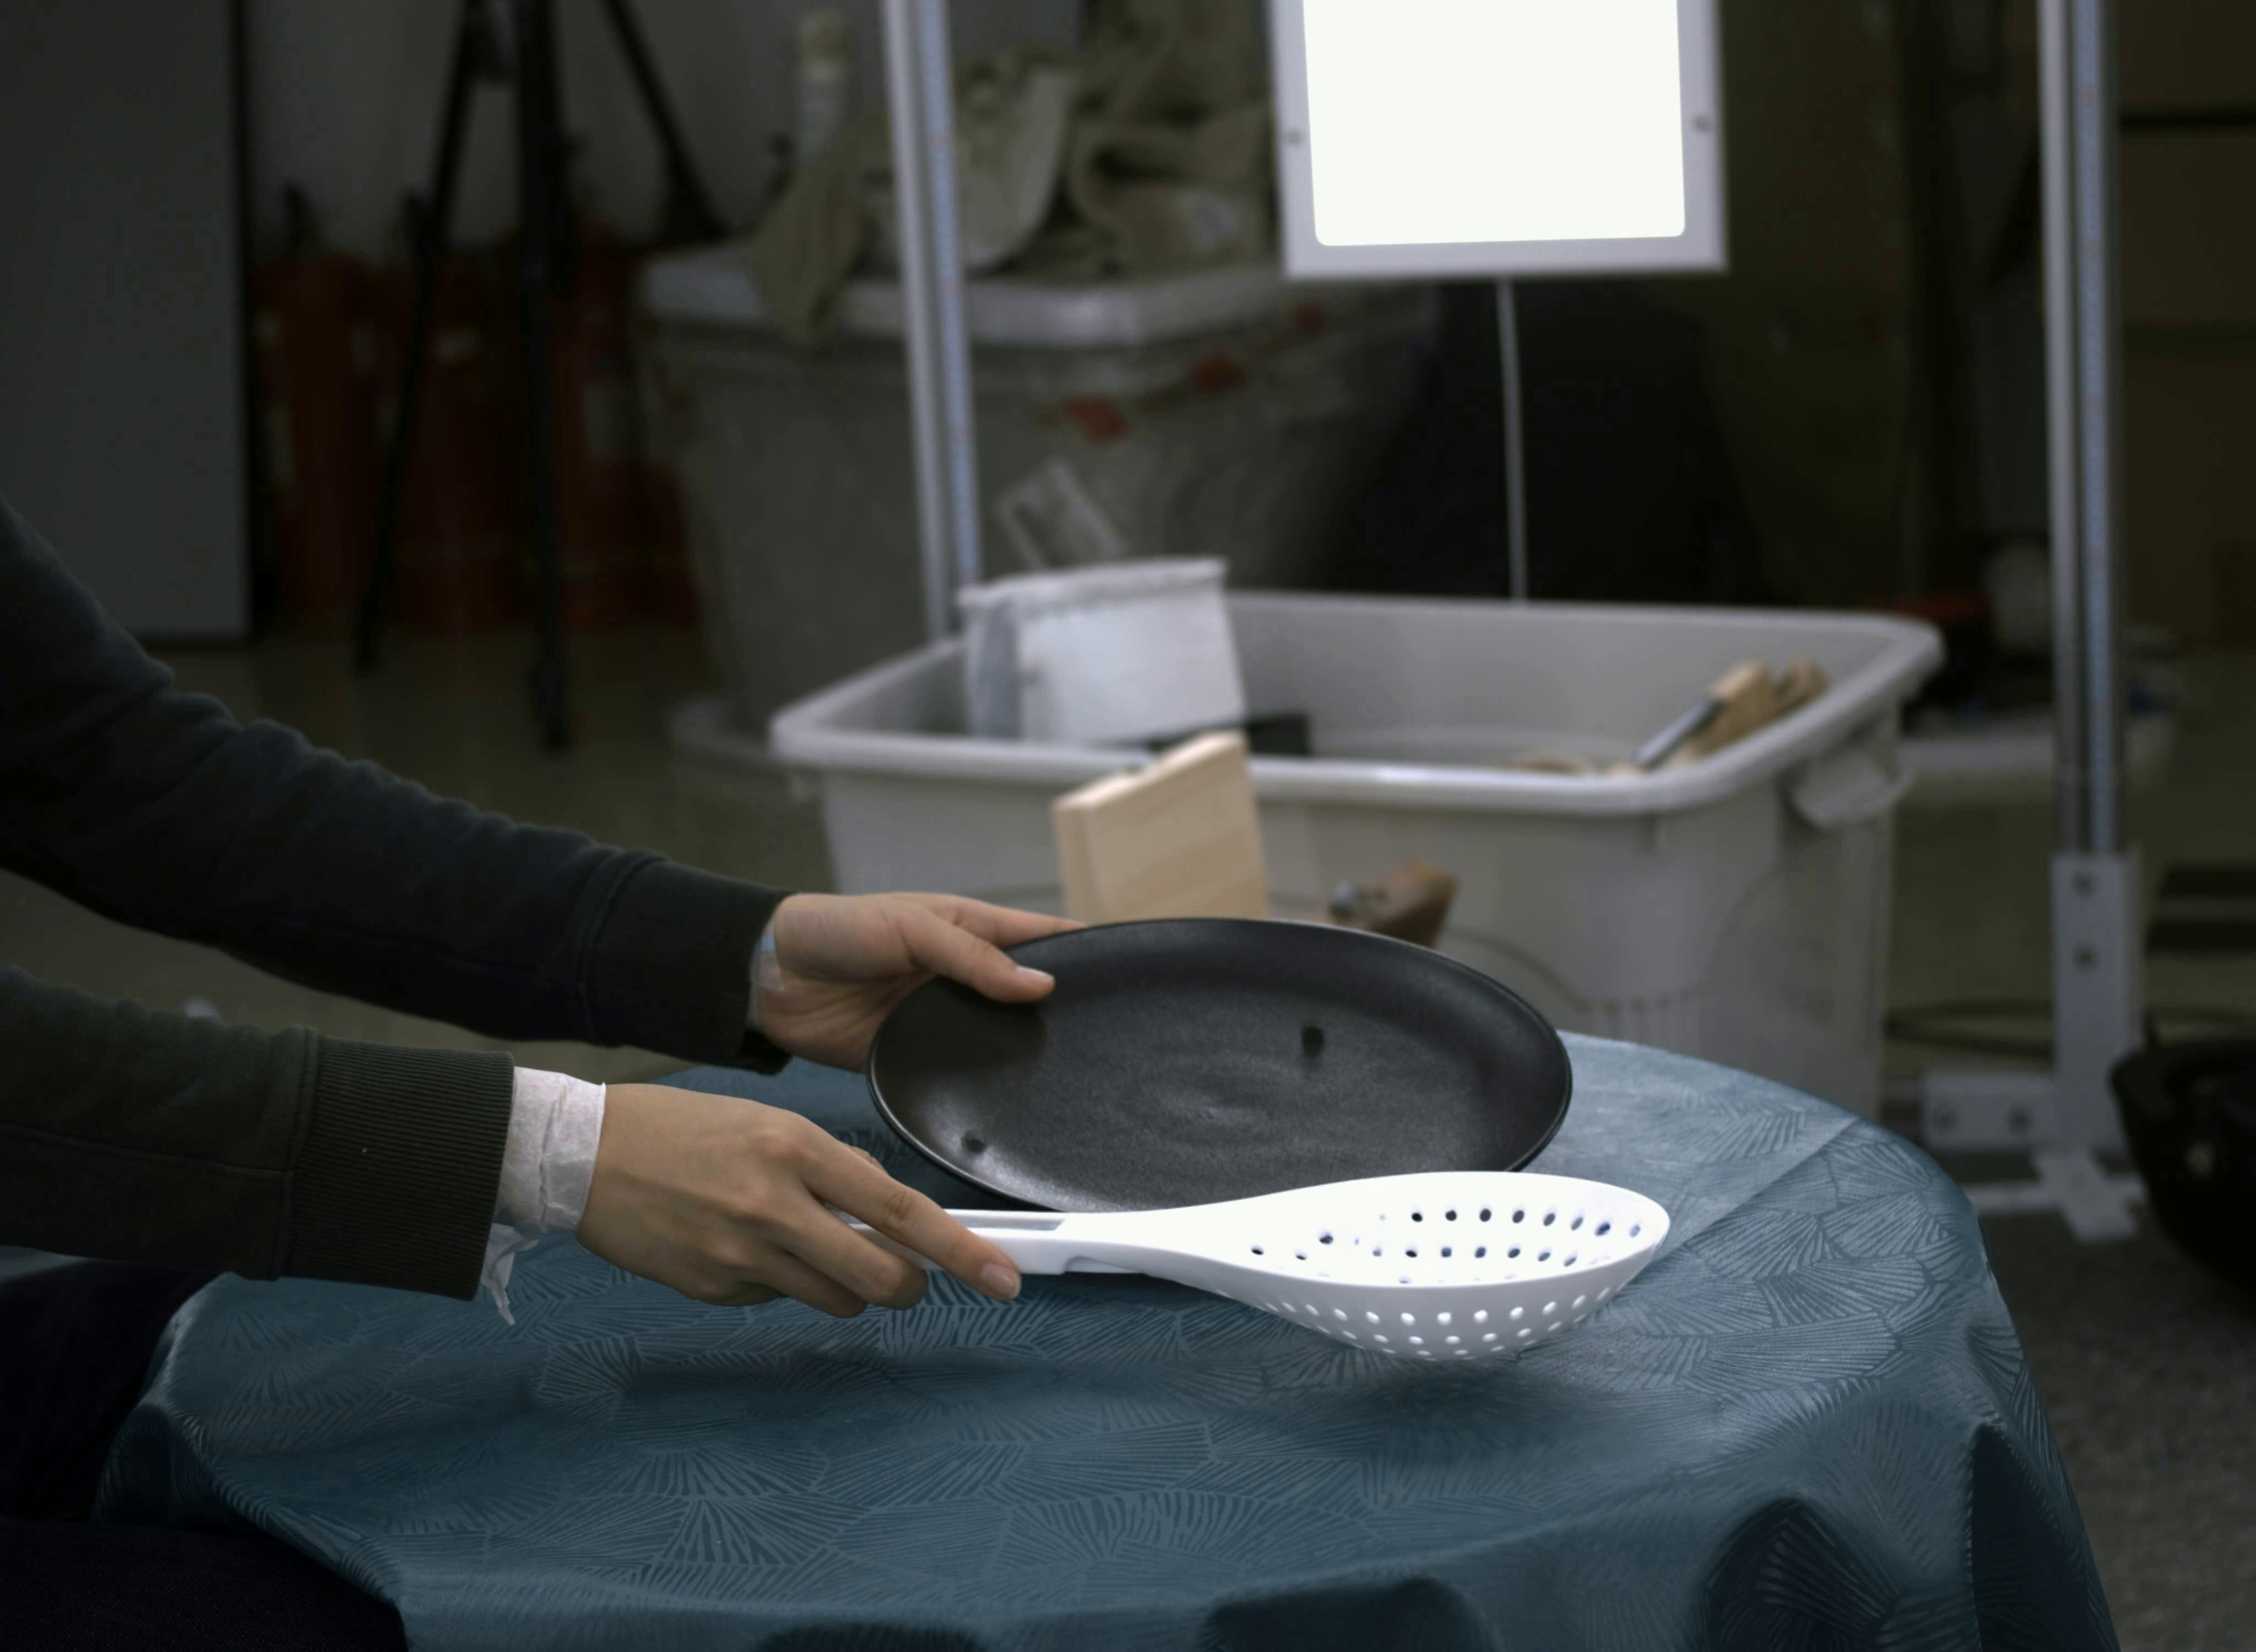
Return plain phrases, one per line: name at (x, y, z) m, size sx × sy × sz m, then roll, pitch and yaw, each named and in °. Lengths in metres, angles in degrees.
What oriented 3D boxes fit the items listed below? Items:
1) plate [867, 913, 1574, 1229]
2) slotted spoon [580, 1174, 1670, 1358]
plate at (0.032, 0.091, 1.892) m, size 0.243 × 0.023 × 0.244 m, roll -1°, pitch 24°, yaw -1°
slotted spoon at (-0.005, 0.129, 1.719) m, size 0.353 × 0.046 × 0.134 m, roll 5°, pitch 11°, yaw 17°
